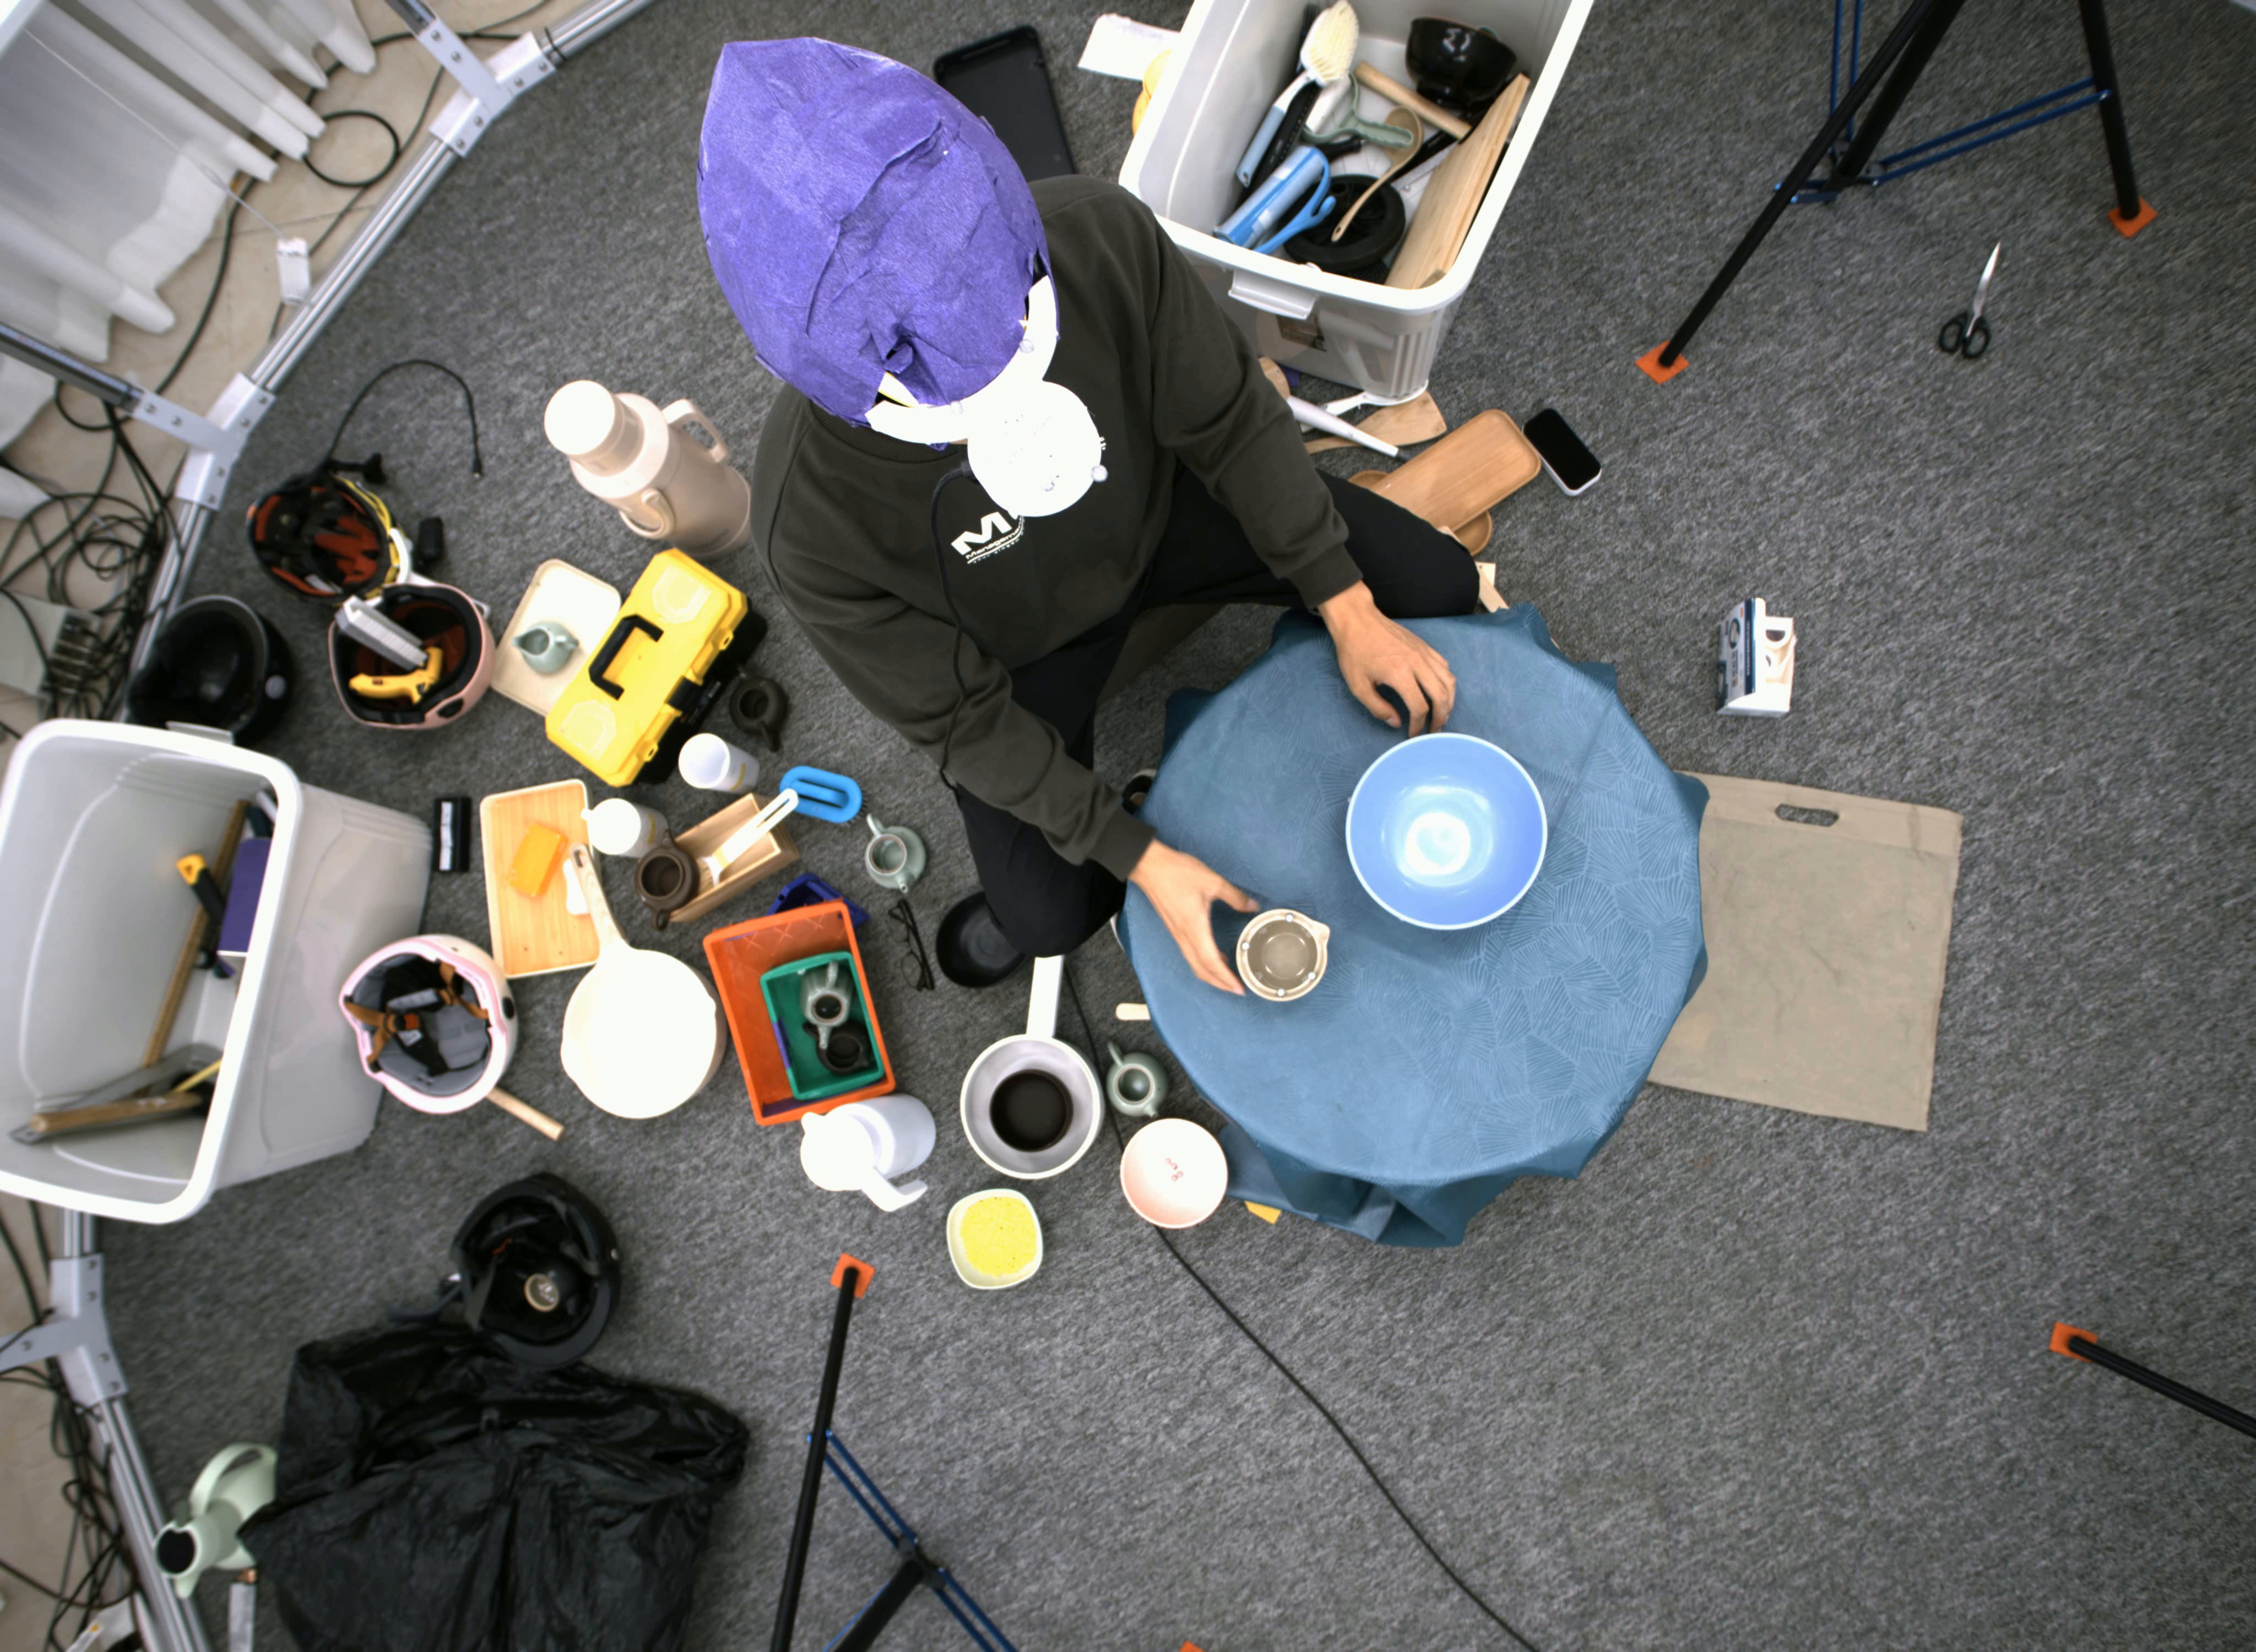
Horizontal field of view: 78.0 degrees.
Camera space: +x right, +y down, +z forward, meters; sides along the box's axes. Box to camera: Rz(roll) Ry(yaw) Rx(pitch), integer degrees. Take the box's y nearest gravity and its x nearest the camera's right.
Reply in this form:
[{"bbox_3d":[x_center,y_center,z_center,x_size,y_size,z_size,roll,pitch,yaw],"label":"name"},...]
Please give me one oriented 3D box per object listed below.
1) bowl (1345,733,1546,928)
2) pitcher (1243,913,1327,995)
[{"bbox_3d":[0.322,0.008,1.407,0.197,0.095,0.195,-1,84,11],"label":"bowl"},{"bbox_3d":[0.167,0.130,1.439,0.096,0.071,0.083,-32,80,7],"label":"pitcher"}]
